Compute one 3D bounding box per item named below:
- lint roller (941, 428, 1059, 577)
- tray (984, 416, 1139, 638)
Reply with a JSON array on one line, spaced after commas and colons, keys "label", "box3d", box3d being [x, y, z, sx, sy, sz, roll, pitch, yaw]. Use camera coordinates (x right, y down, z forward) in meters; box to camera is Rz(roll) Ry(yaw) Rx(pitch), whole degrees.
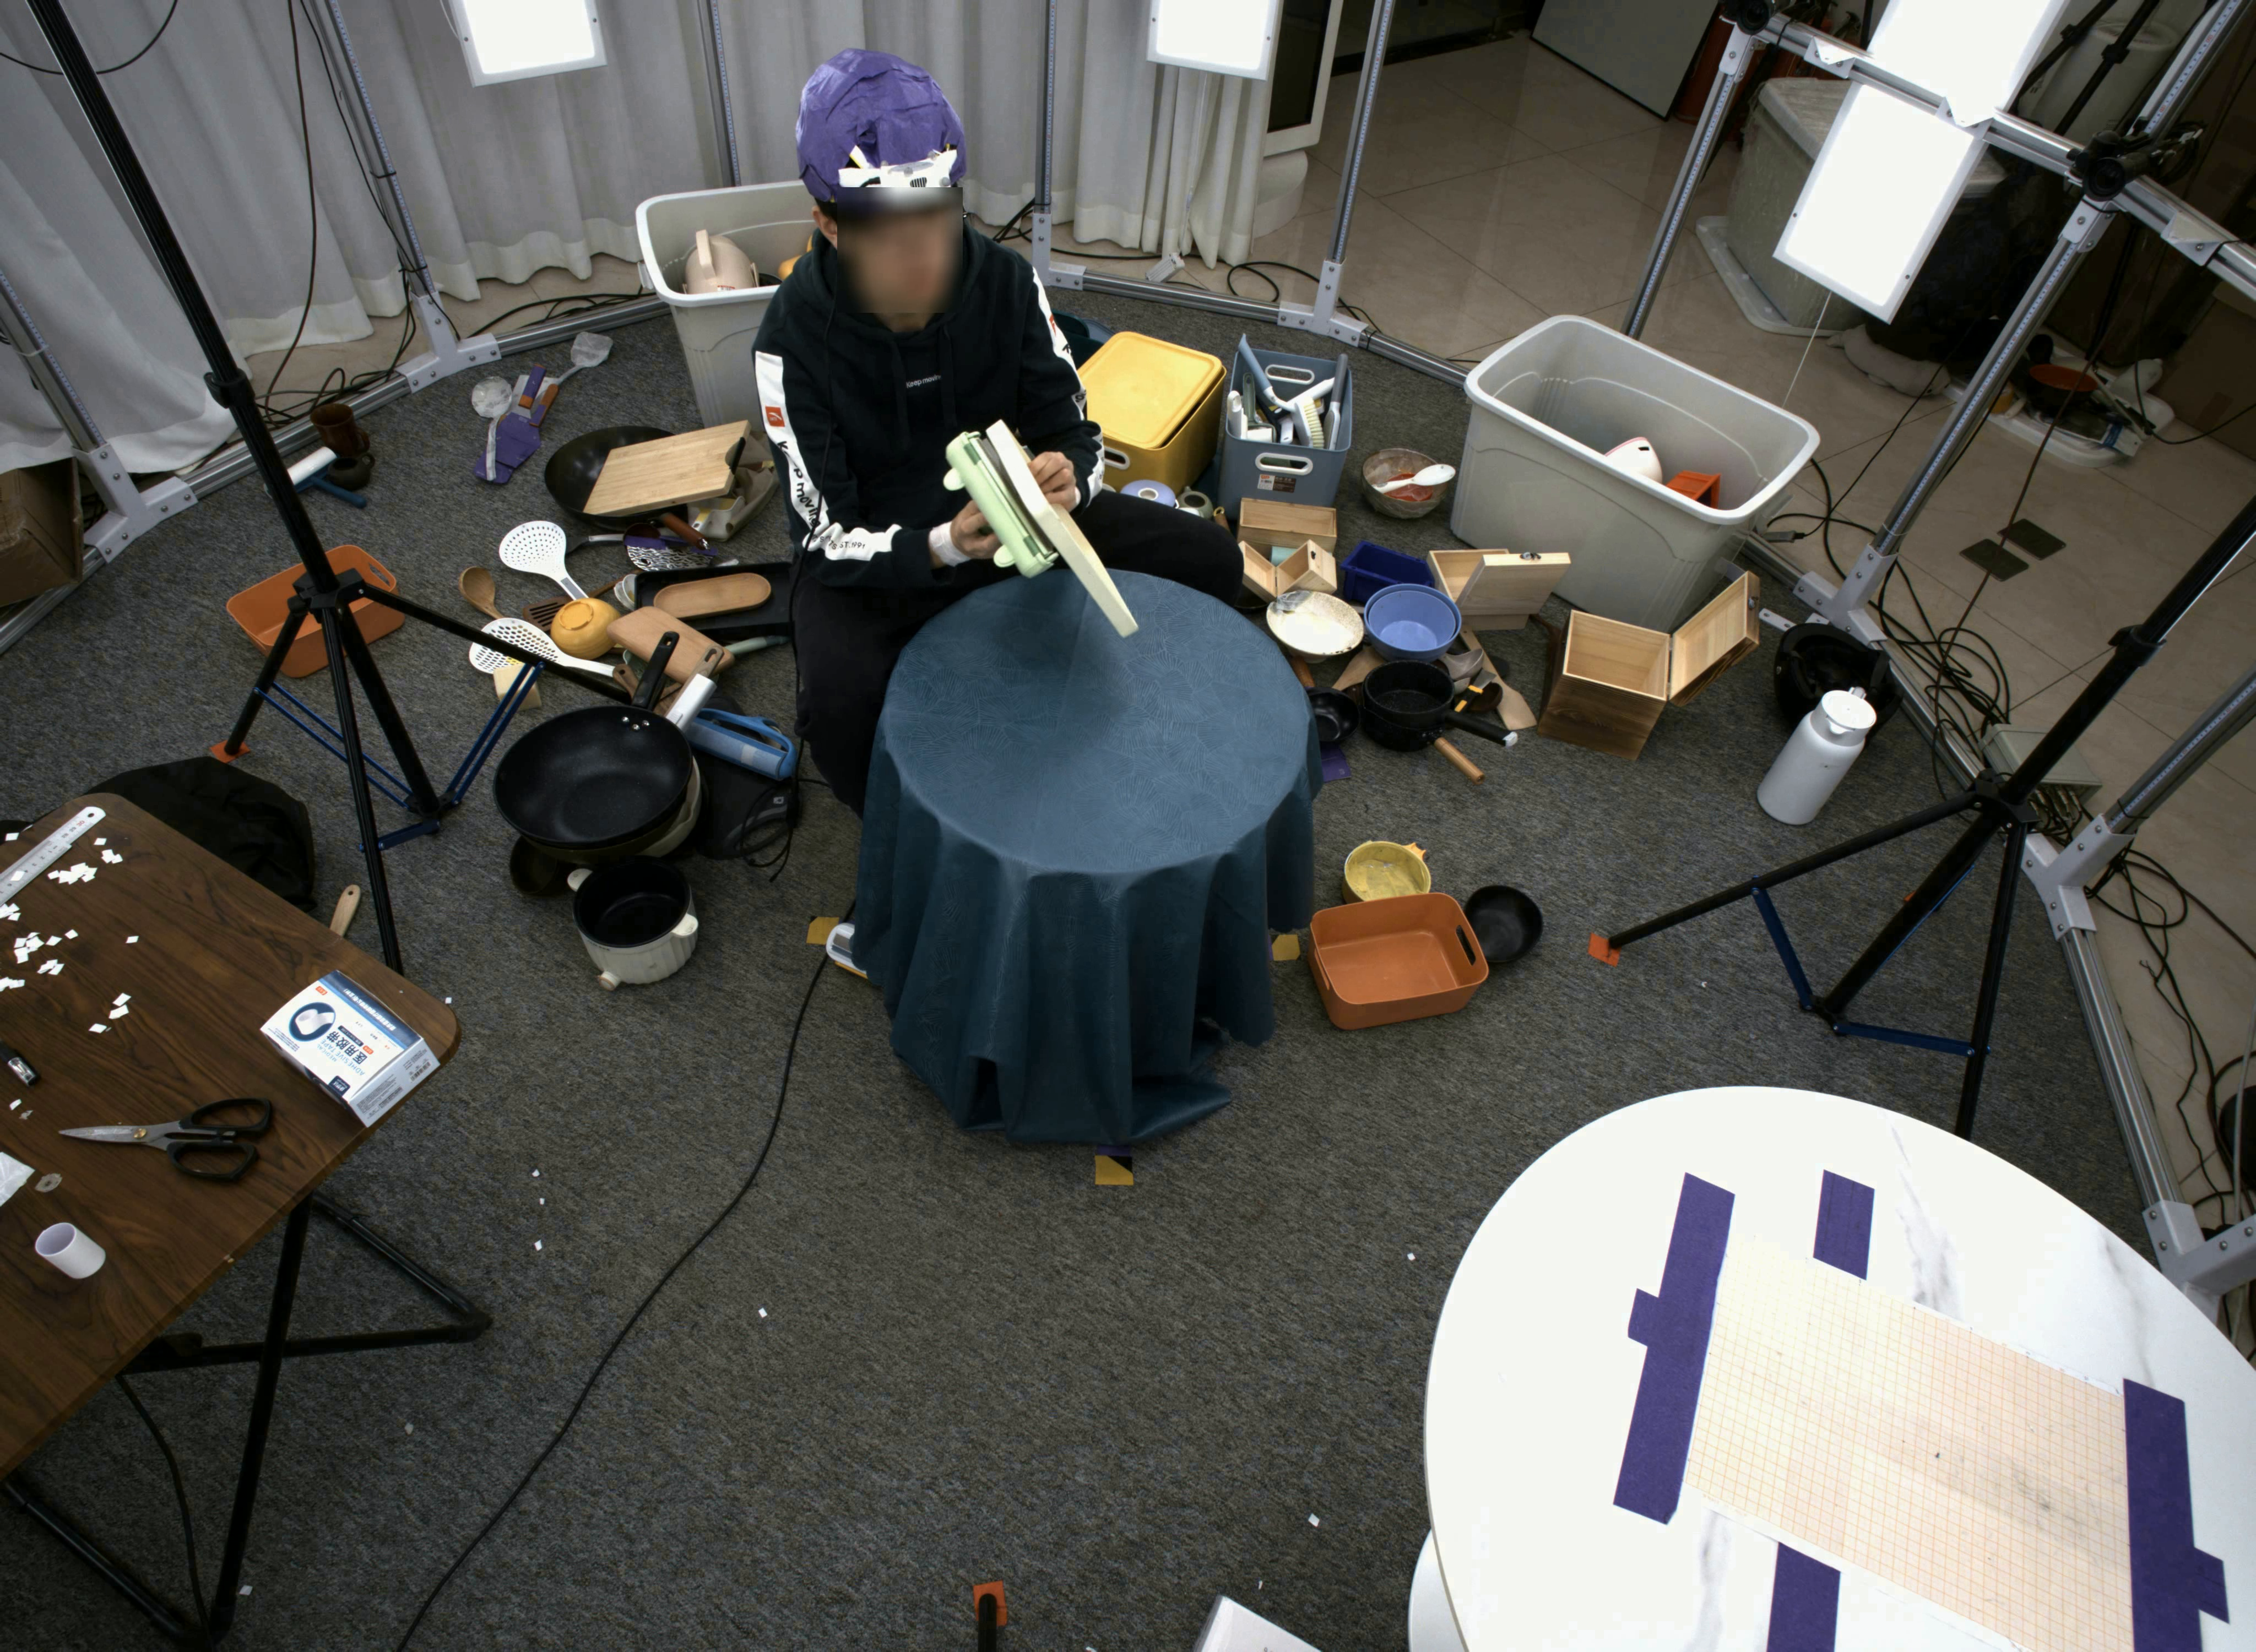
[{"label": "lint roller", "box3d": [-0.185, -0.400, 1.687, 0.083, 0.182, 0.198, -35, 94, -21]}, {"label": "tray", "box3d": [-0.085, -0.396, 1.735, 0.027, 0.294, 0.196, -32, 52, 8]}]
